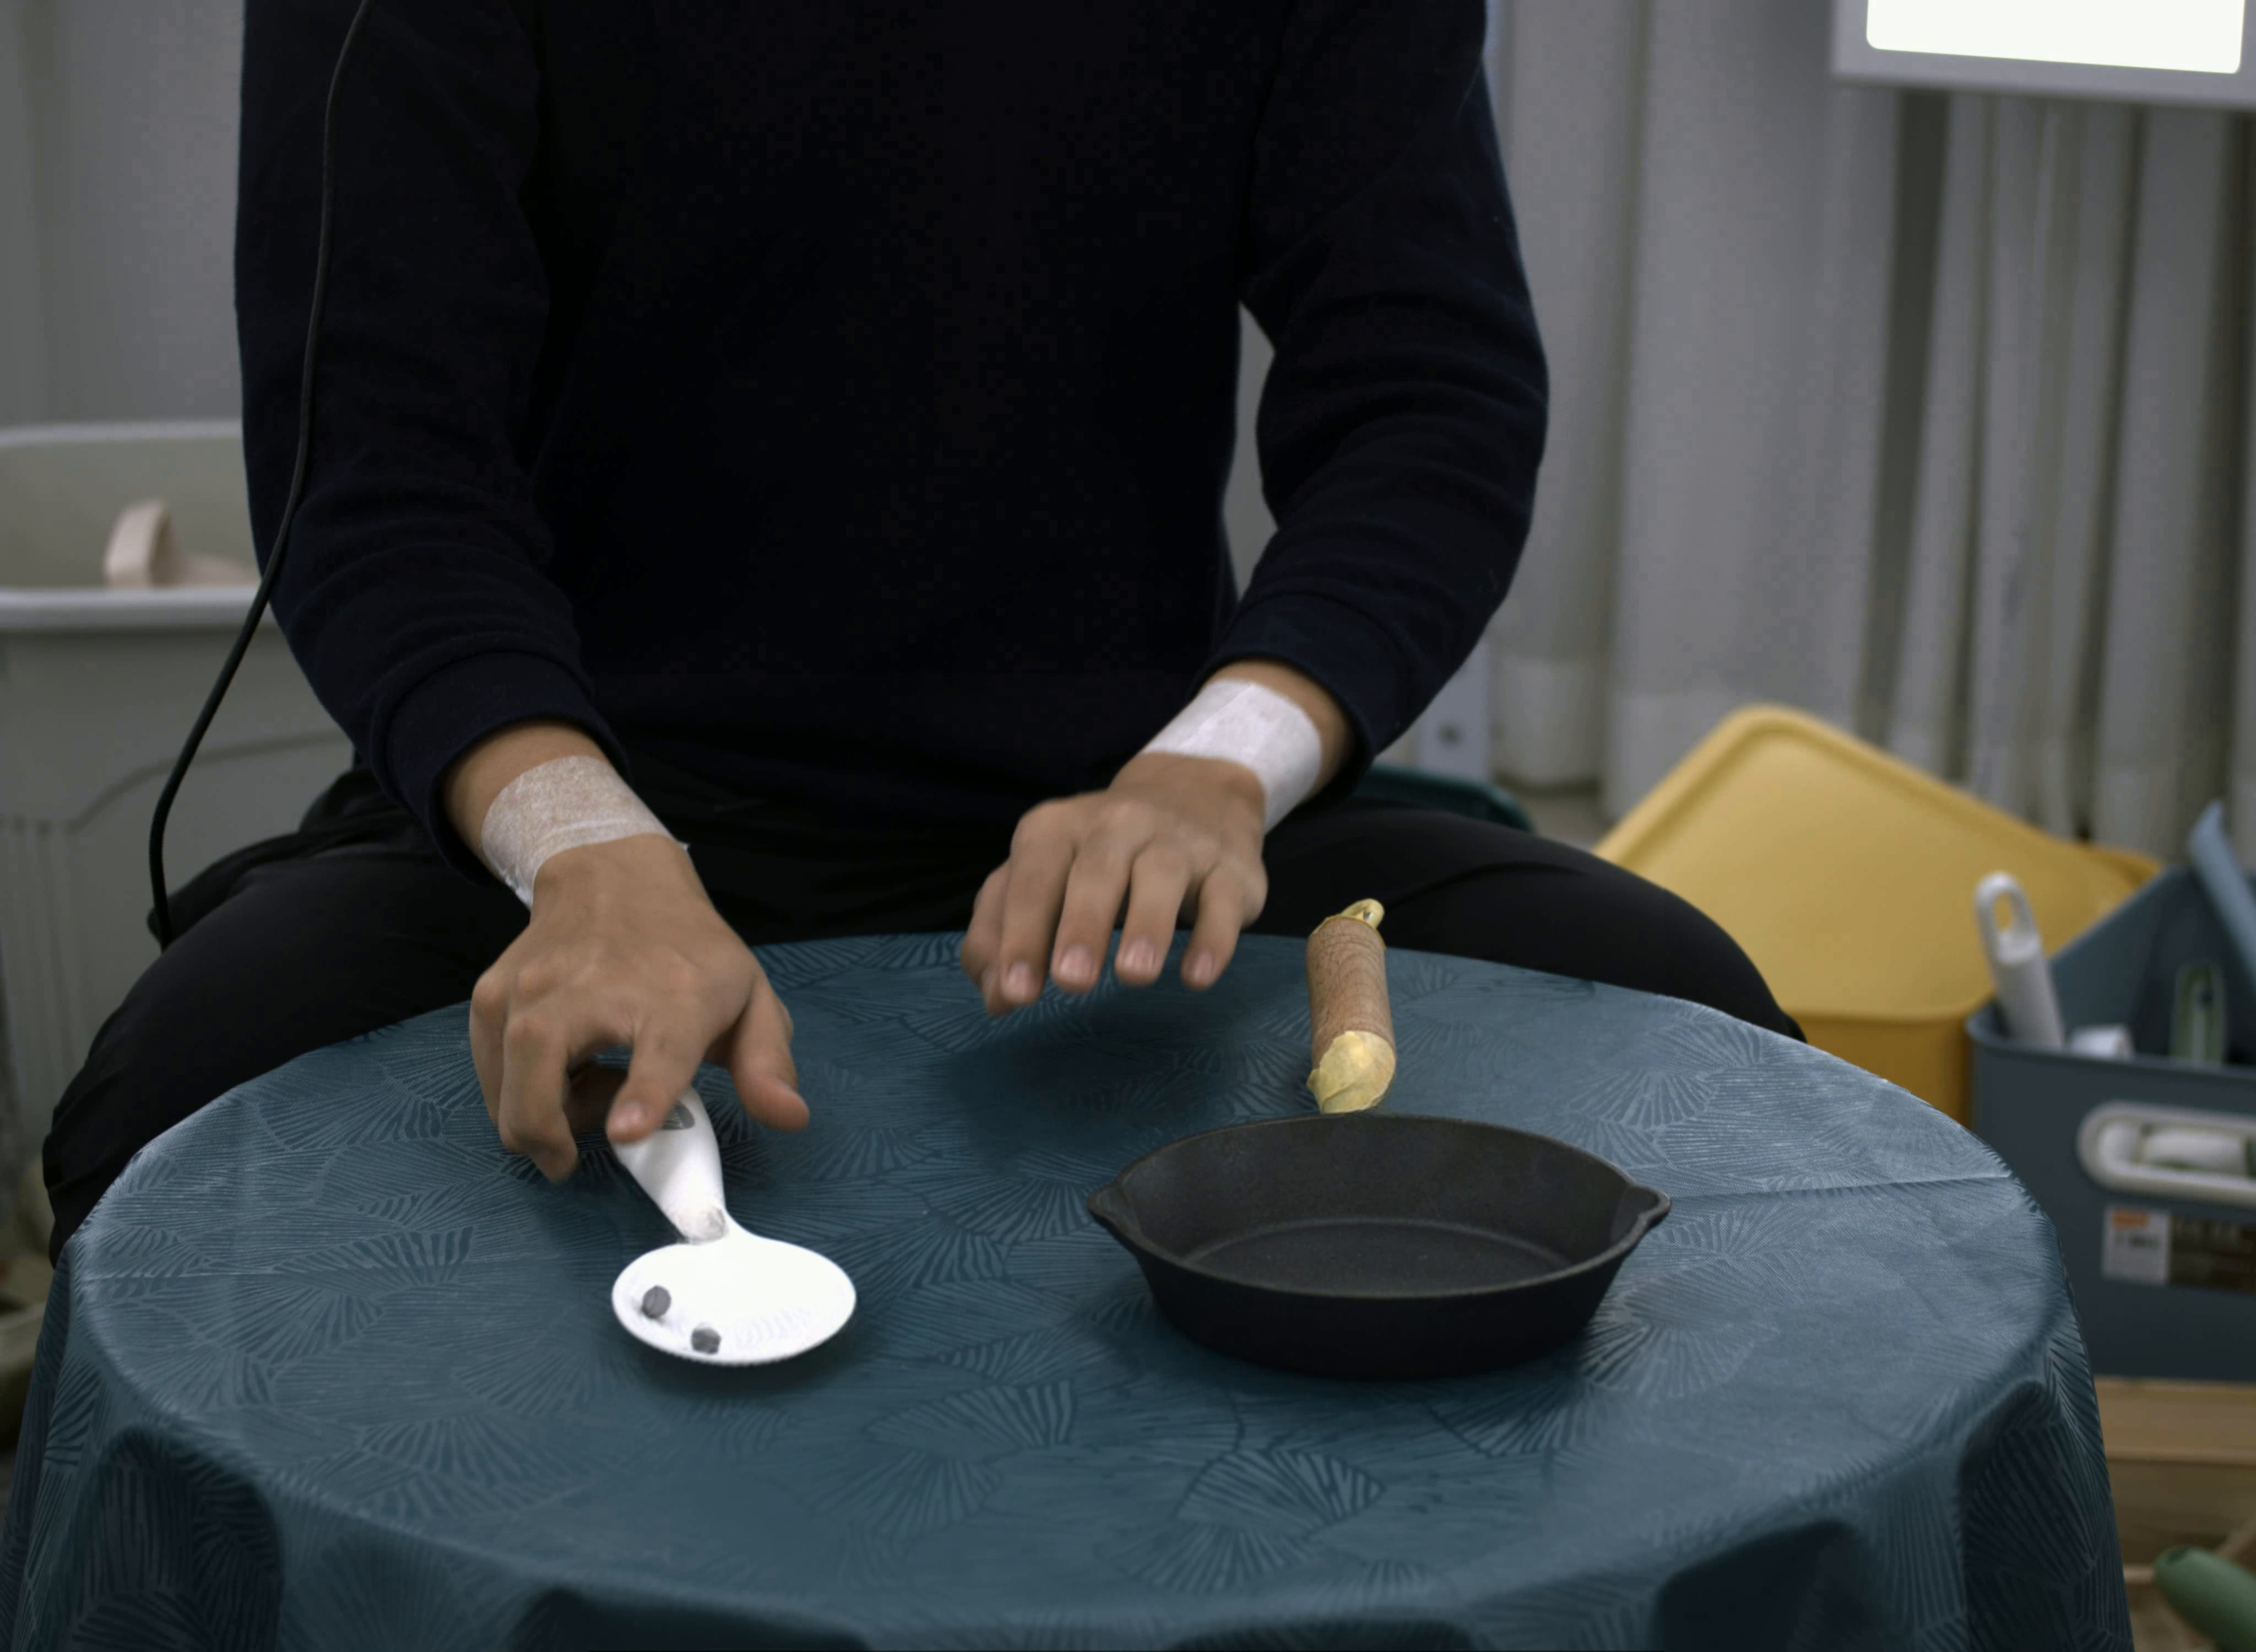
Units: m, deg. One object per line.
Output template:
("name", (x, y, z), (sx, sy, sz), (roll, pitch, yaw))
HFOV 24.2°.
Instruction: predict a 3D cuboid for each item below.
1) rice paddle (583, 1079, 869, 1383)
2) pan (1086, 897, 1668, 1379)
("rice paddle", (-0.125, 0.121, 1.547), (0.069, 0.029, 0.203), (5, 15, -19))
("pan", (0.074, 0.091, 1.605), (0.168, 0.050, 0.322), (1, 17, 1))
